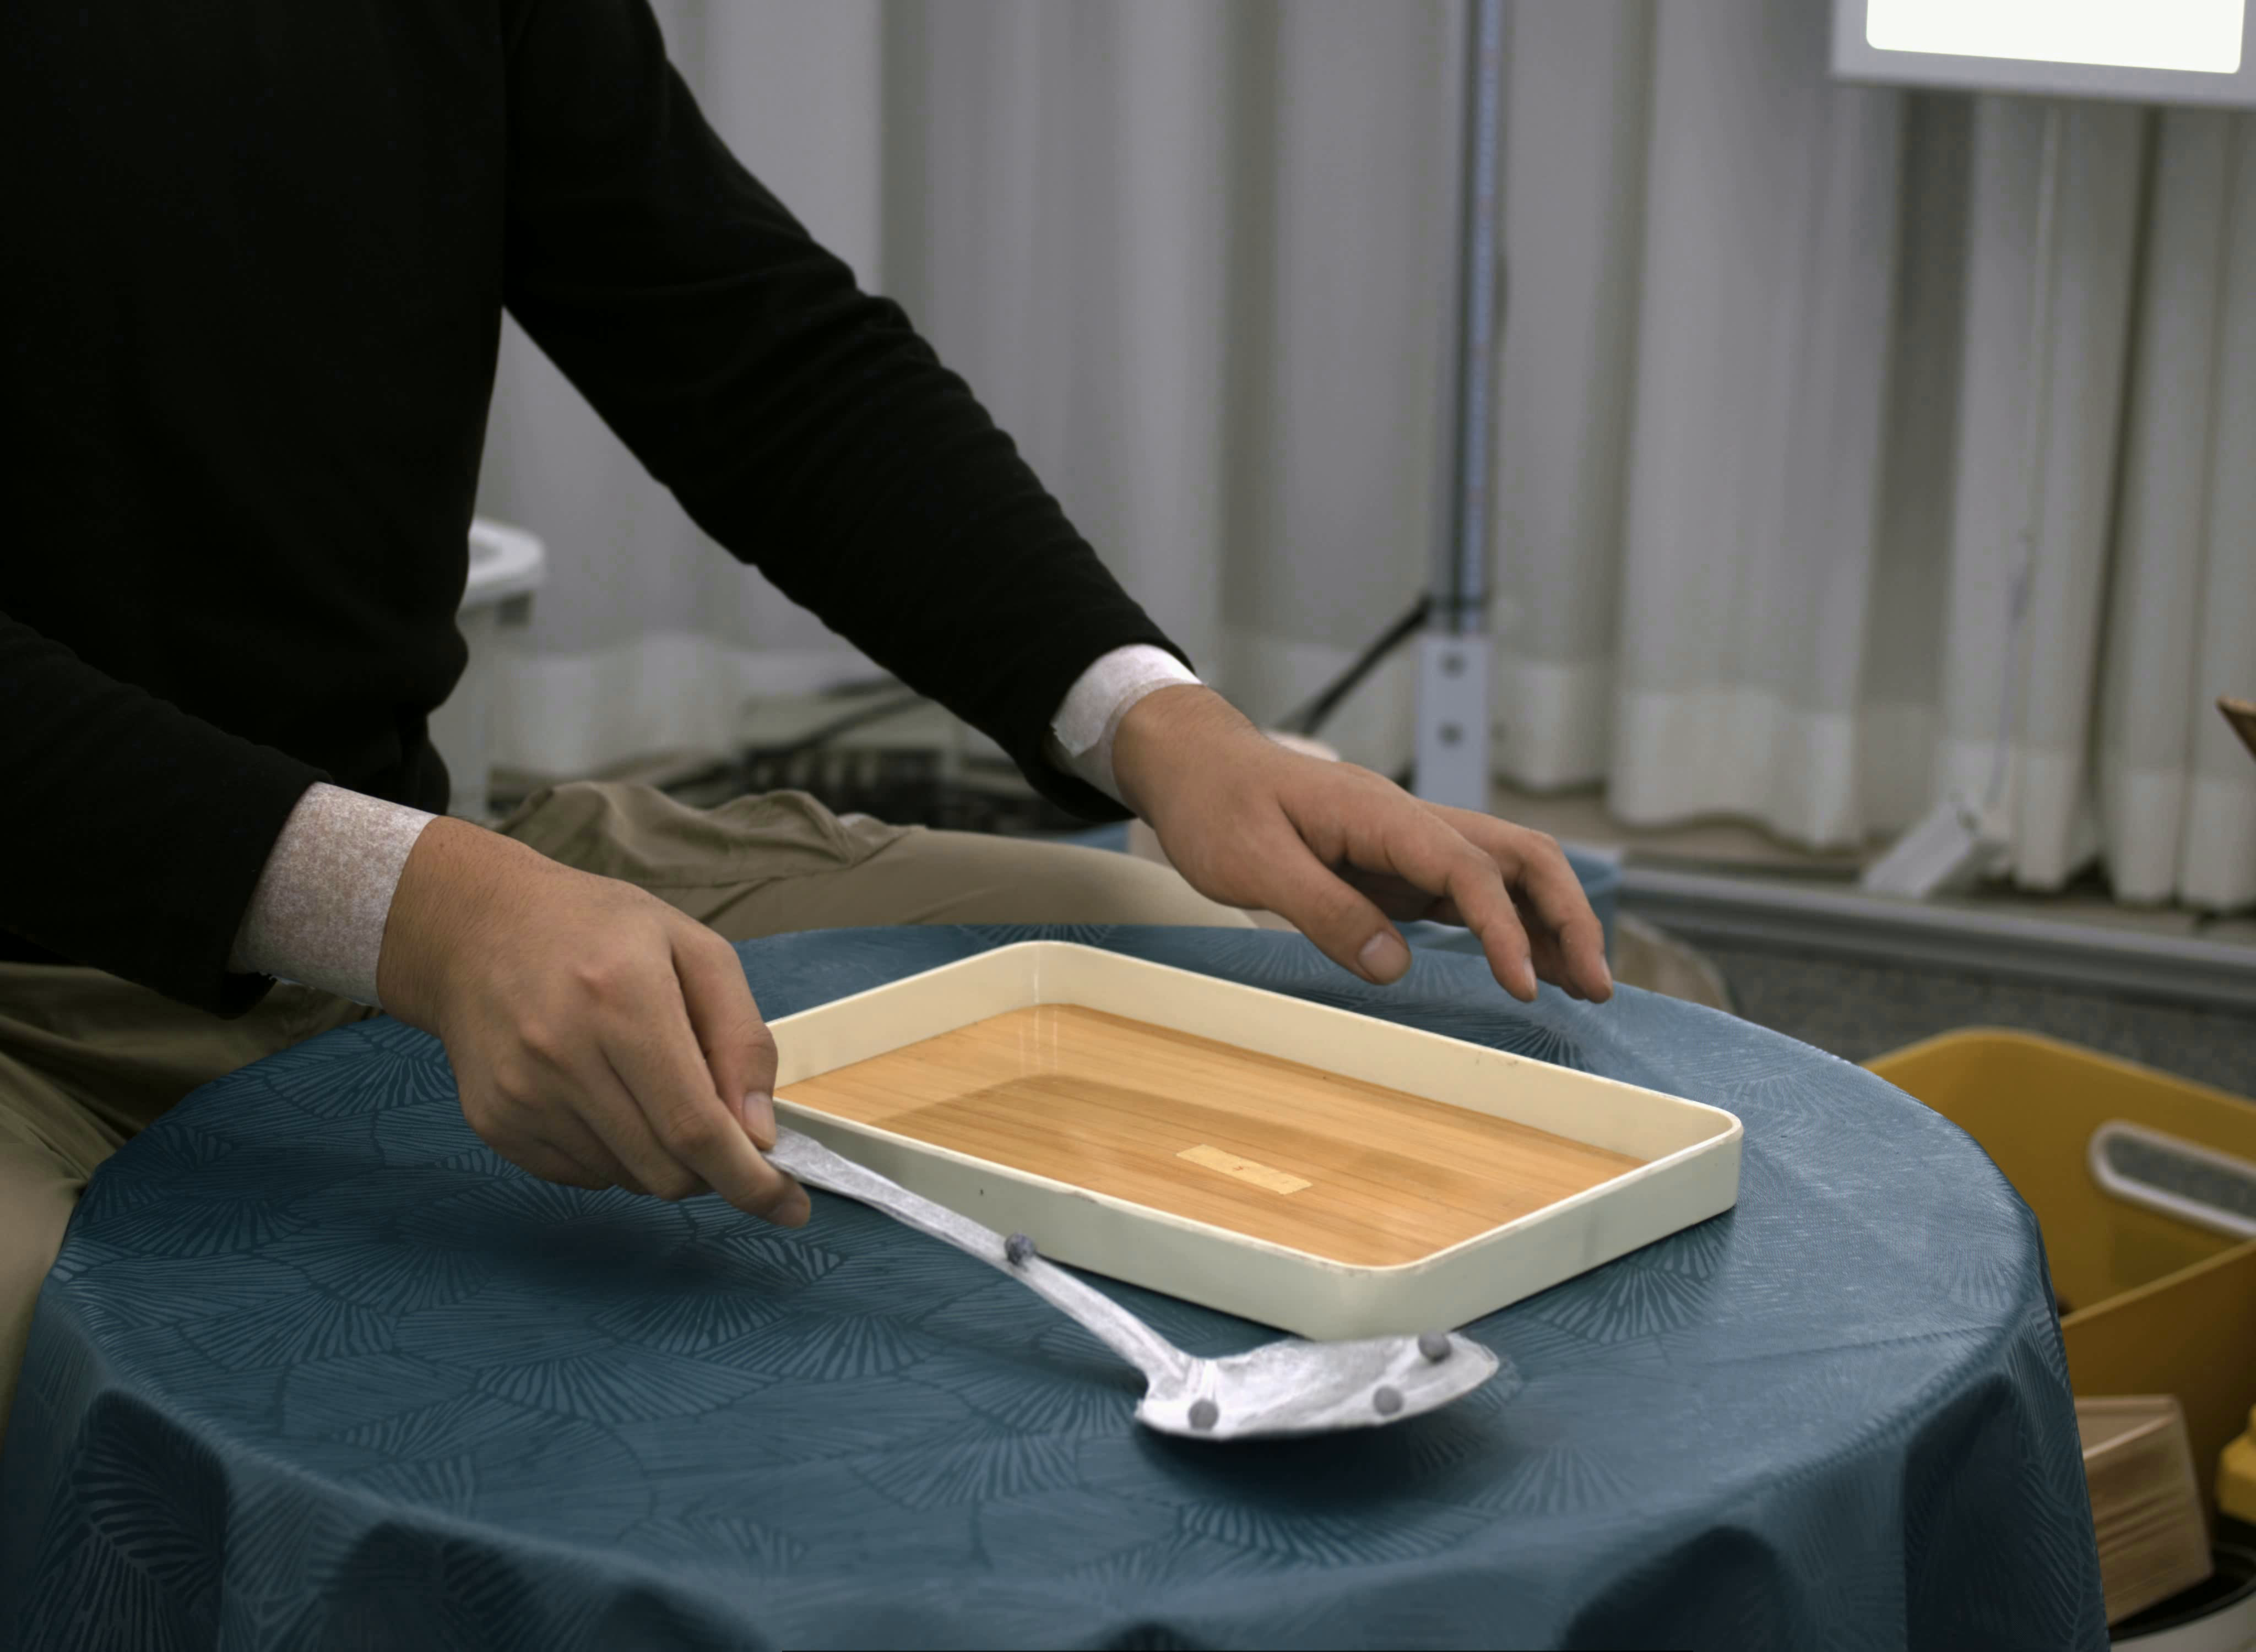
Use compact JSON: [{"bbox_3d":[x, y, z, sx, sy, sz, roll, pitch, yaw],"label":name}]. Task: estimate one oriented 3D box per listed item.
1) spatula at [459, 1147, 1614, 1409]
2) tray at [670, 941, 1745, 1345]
[{"bbox_3d":[-0.041,0.117,1.478,0.361,0.045,0.099,14,1,25],"label":"spatula"},{"bbox_3d":[0.022,0.094,1.637,0.296,0.027,0.192,13,20,39],"label":"tray"}]
